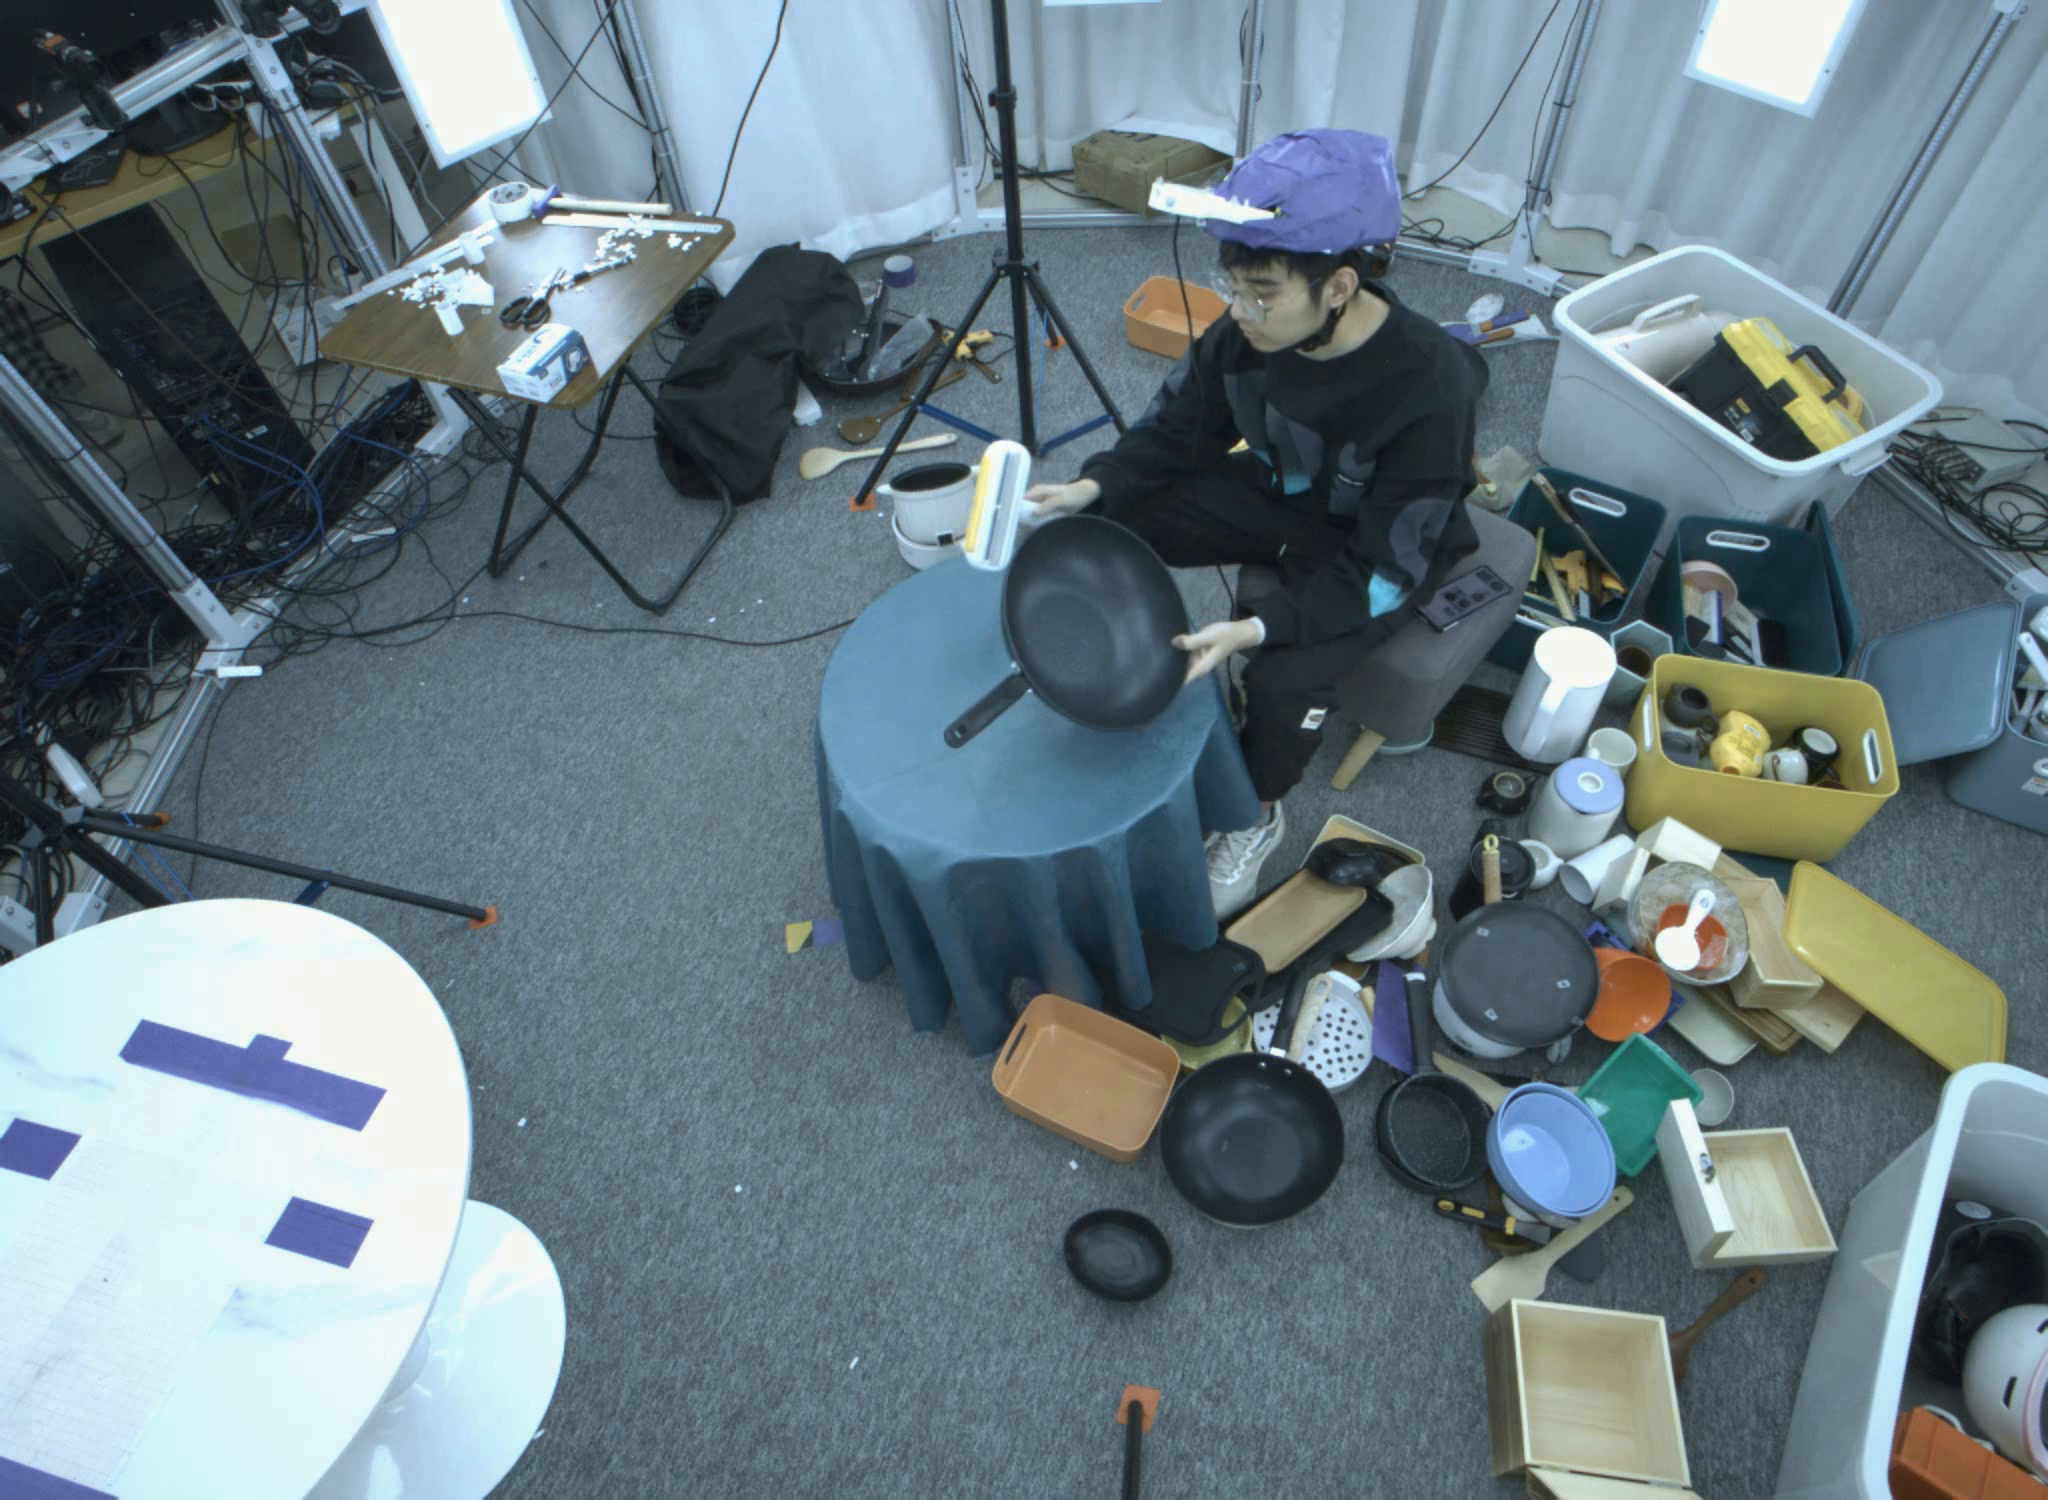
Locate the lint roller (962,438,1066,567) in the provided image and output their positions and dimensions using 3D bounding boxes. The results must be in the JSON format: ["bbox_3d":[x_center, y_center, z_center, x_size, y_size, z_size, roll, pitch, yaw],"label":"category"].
[{"bbox_3d":[-0.002,-0.362,1.850,0.197,0.193,0.072,8,6,-40],"label":"lint roller"}]

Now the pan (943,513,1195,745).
[{"bbox_3d":[0.039,-0.128,1.650,0.481,0.110,0.312,-40,99,-33],"label":"pan"}]
